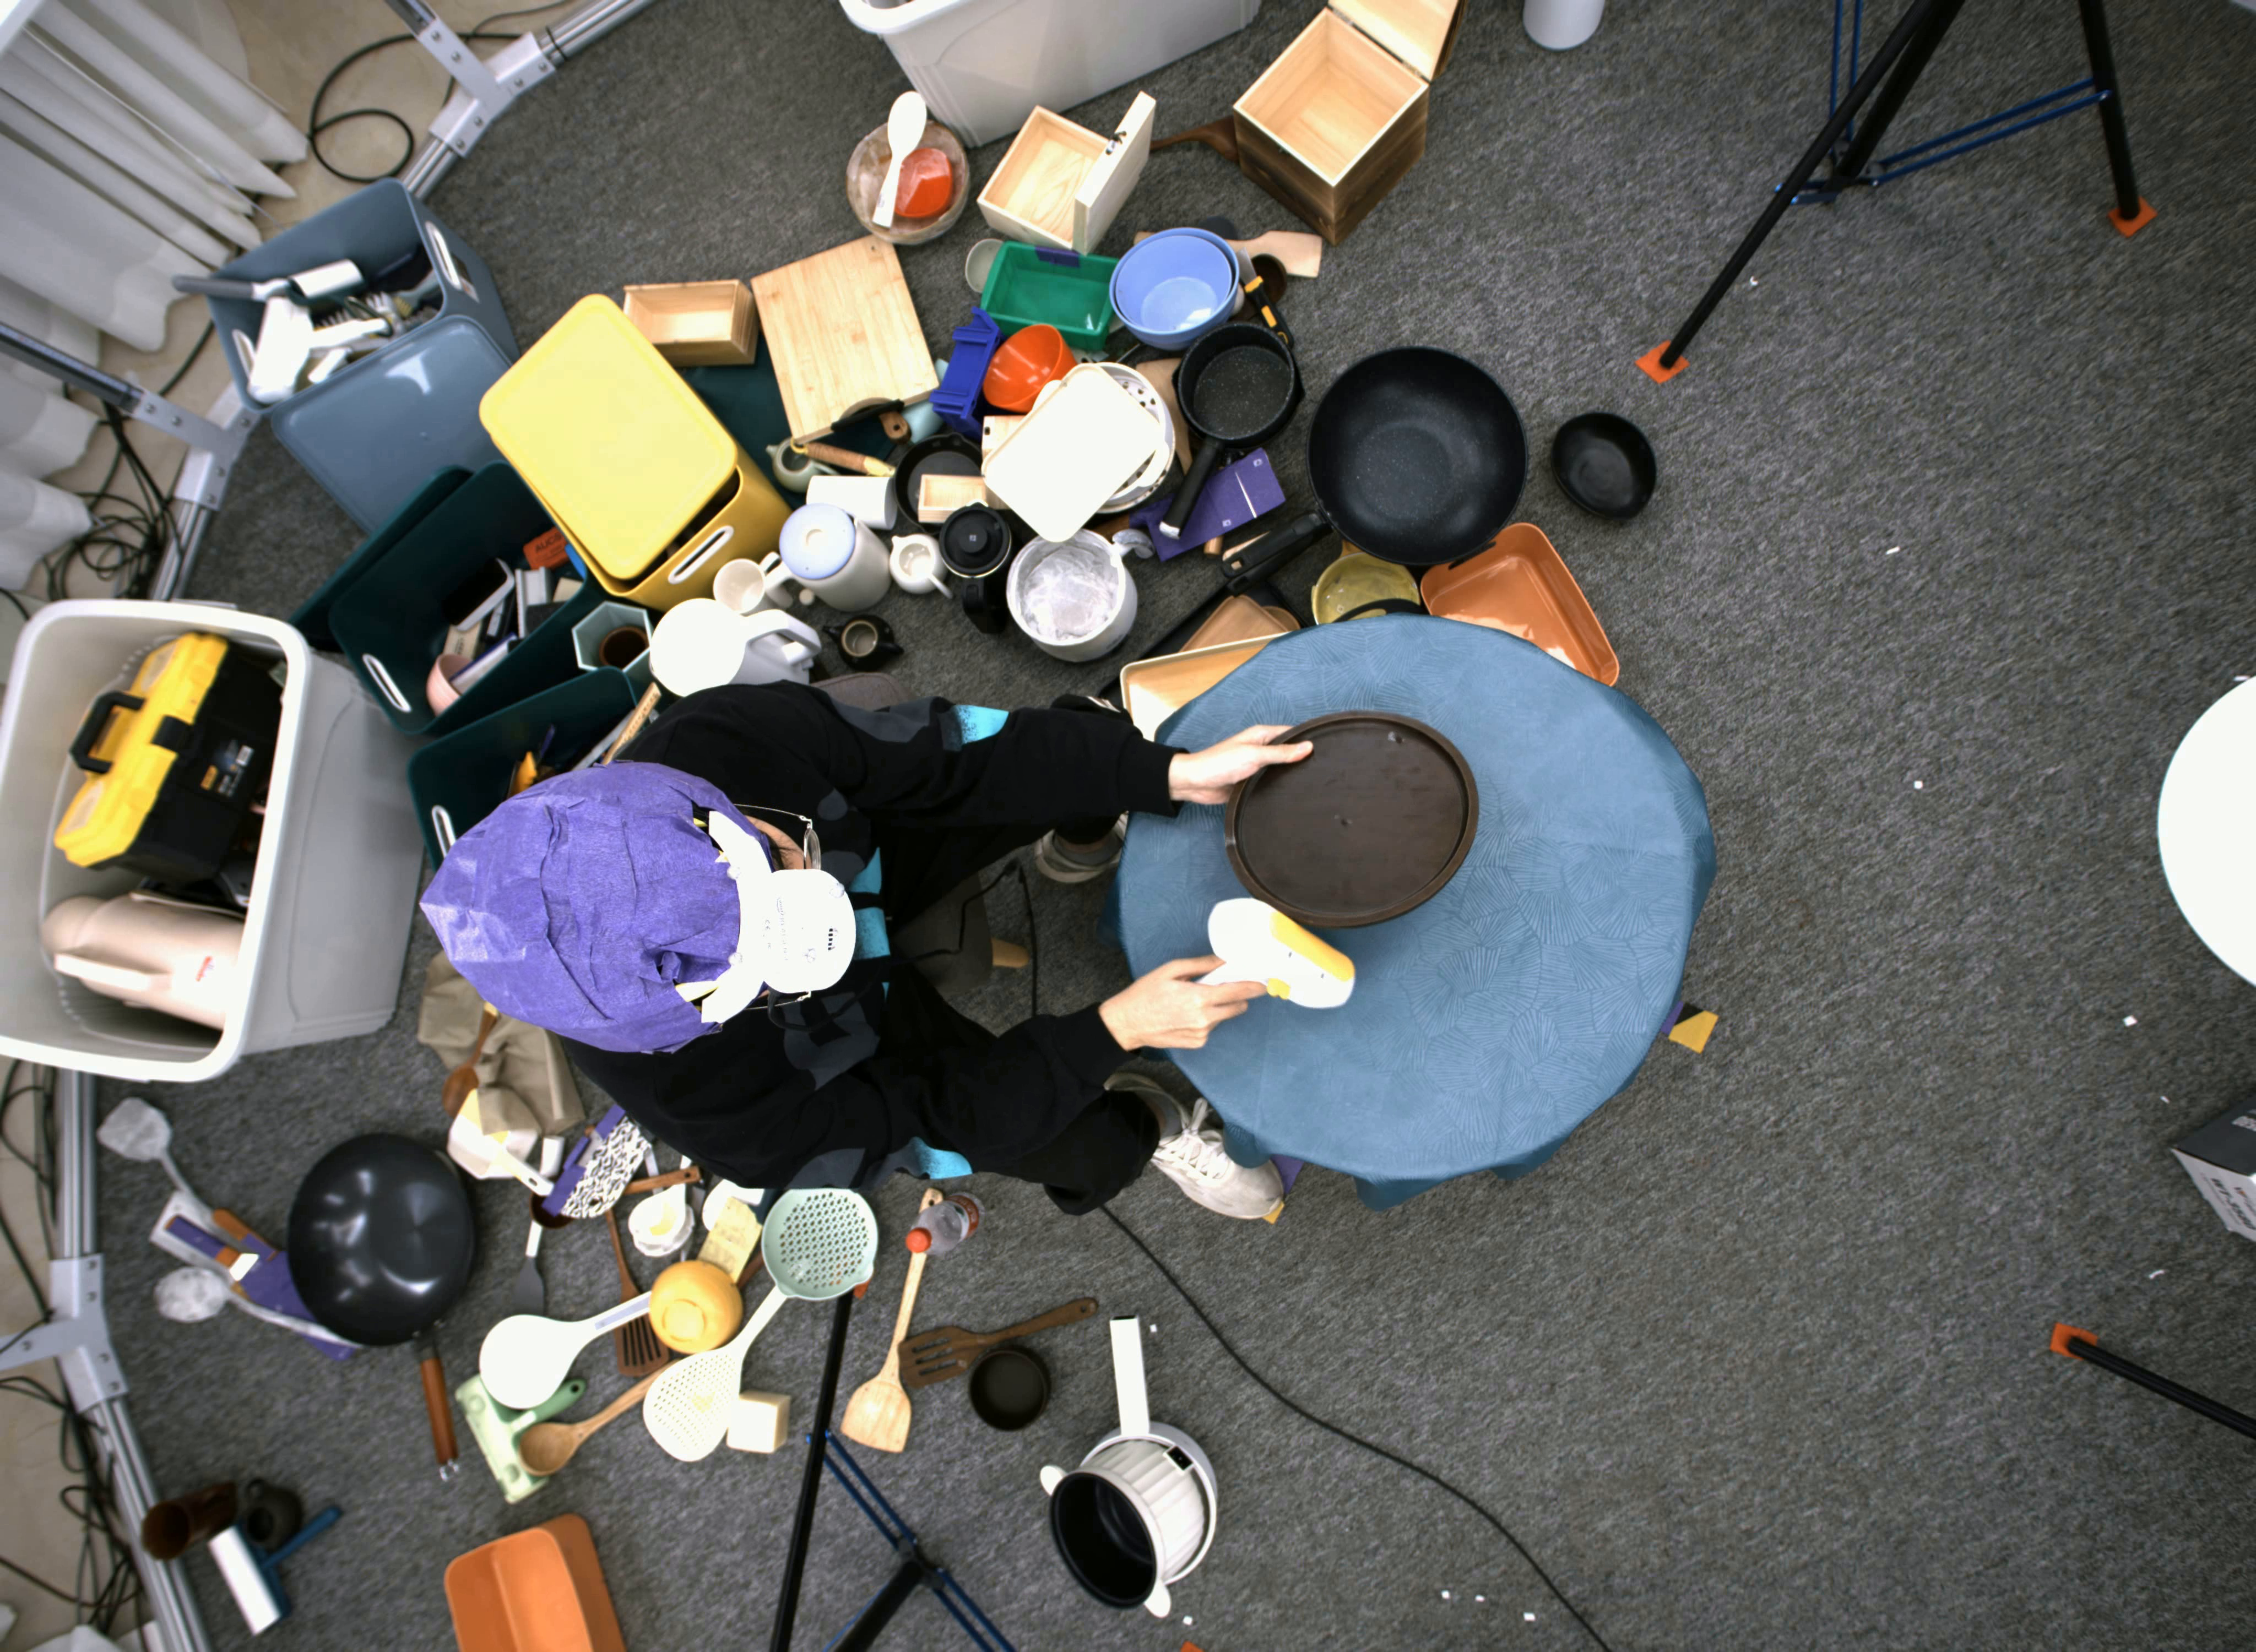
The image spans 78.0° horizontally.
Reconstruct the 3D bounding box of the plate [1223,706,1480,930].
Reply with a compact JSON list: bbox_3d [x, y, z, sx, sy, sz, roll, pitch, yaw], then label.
[{"bbox_3d":[0.219,-0.010,1.358,0.256,0.029,0.249,-10,58,16],"label":"plate"}]

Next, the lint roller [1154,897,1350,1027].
[{"bbox_3d":[0.102,0.147,1.383,0.196,0.194,0.072,-25,55,37],"label":"lint roller"}]
